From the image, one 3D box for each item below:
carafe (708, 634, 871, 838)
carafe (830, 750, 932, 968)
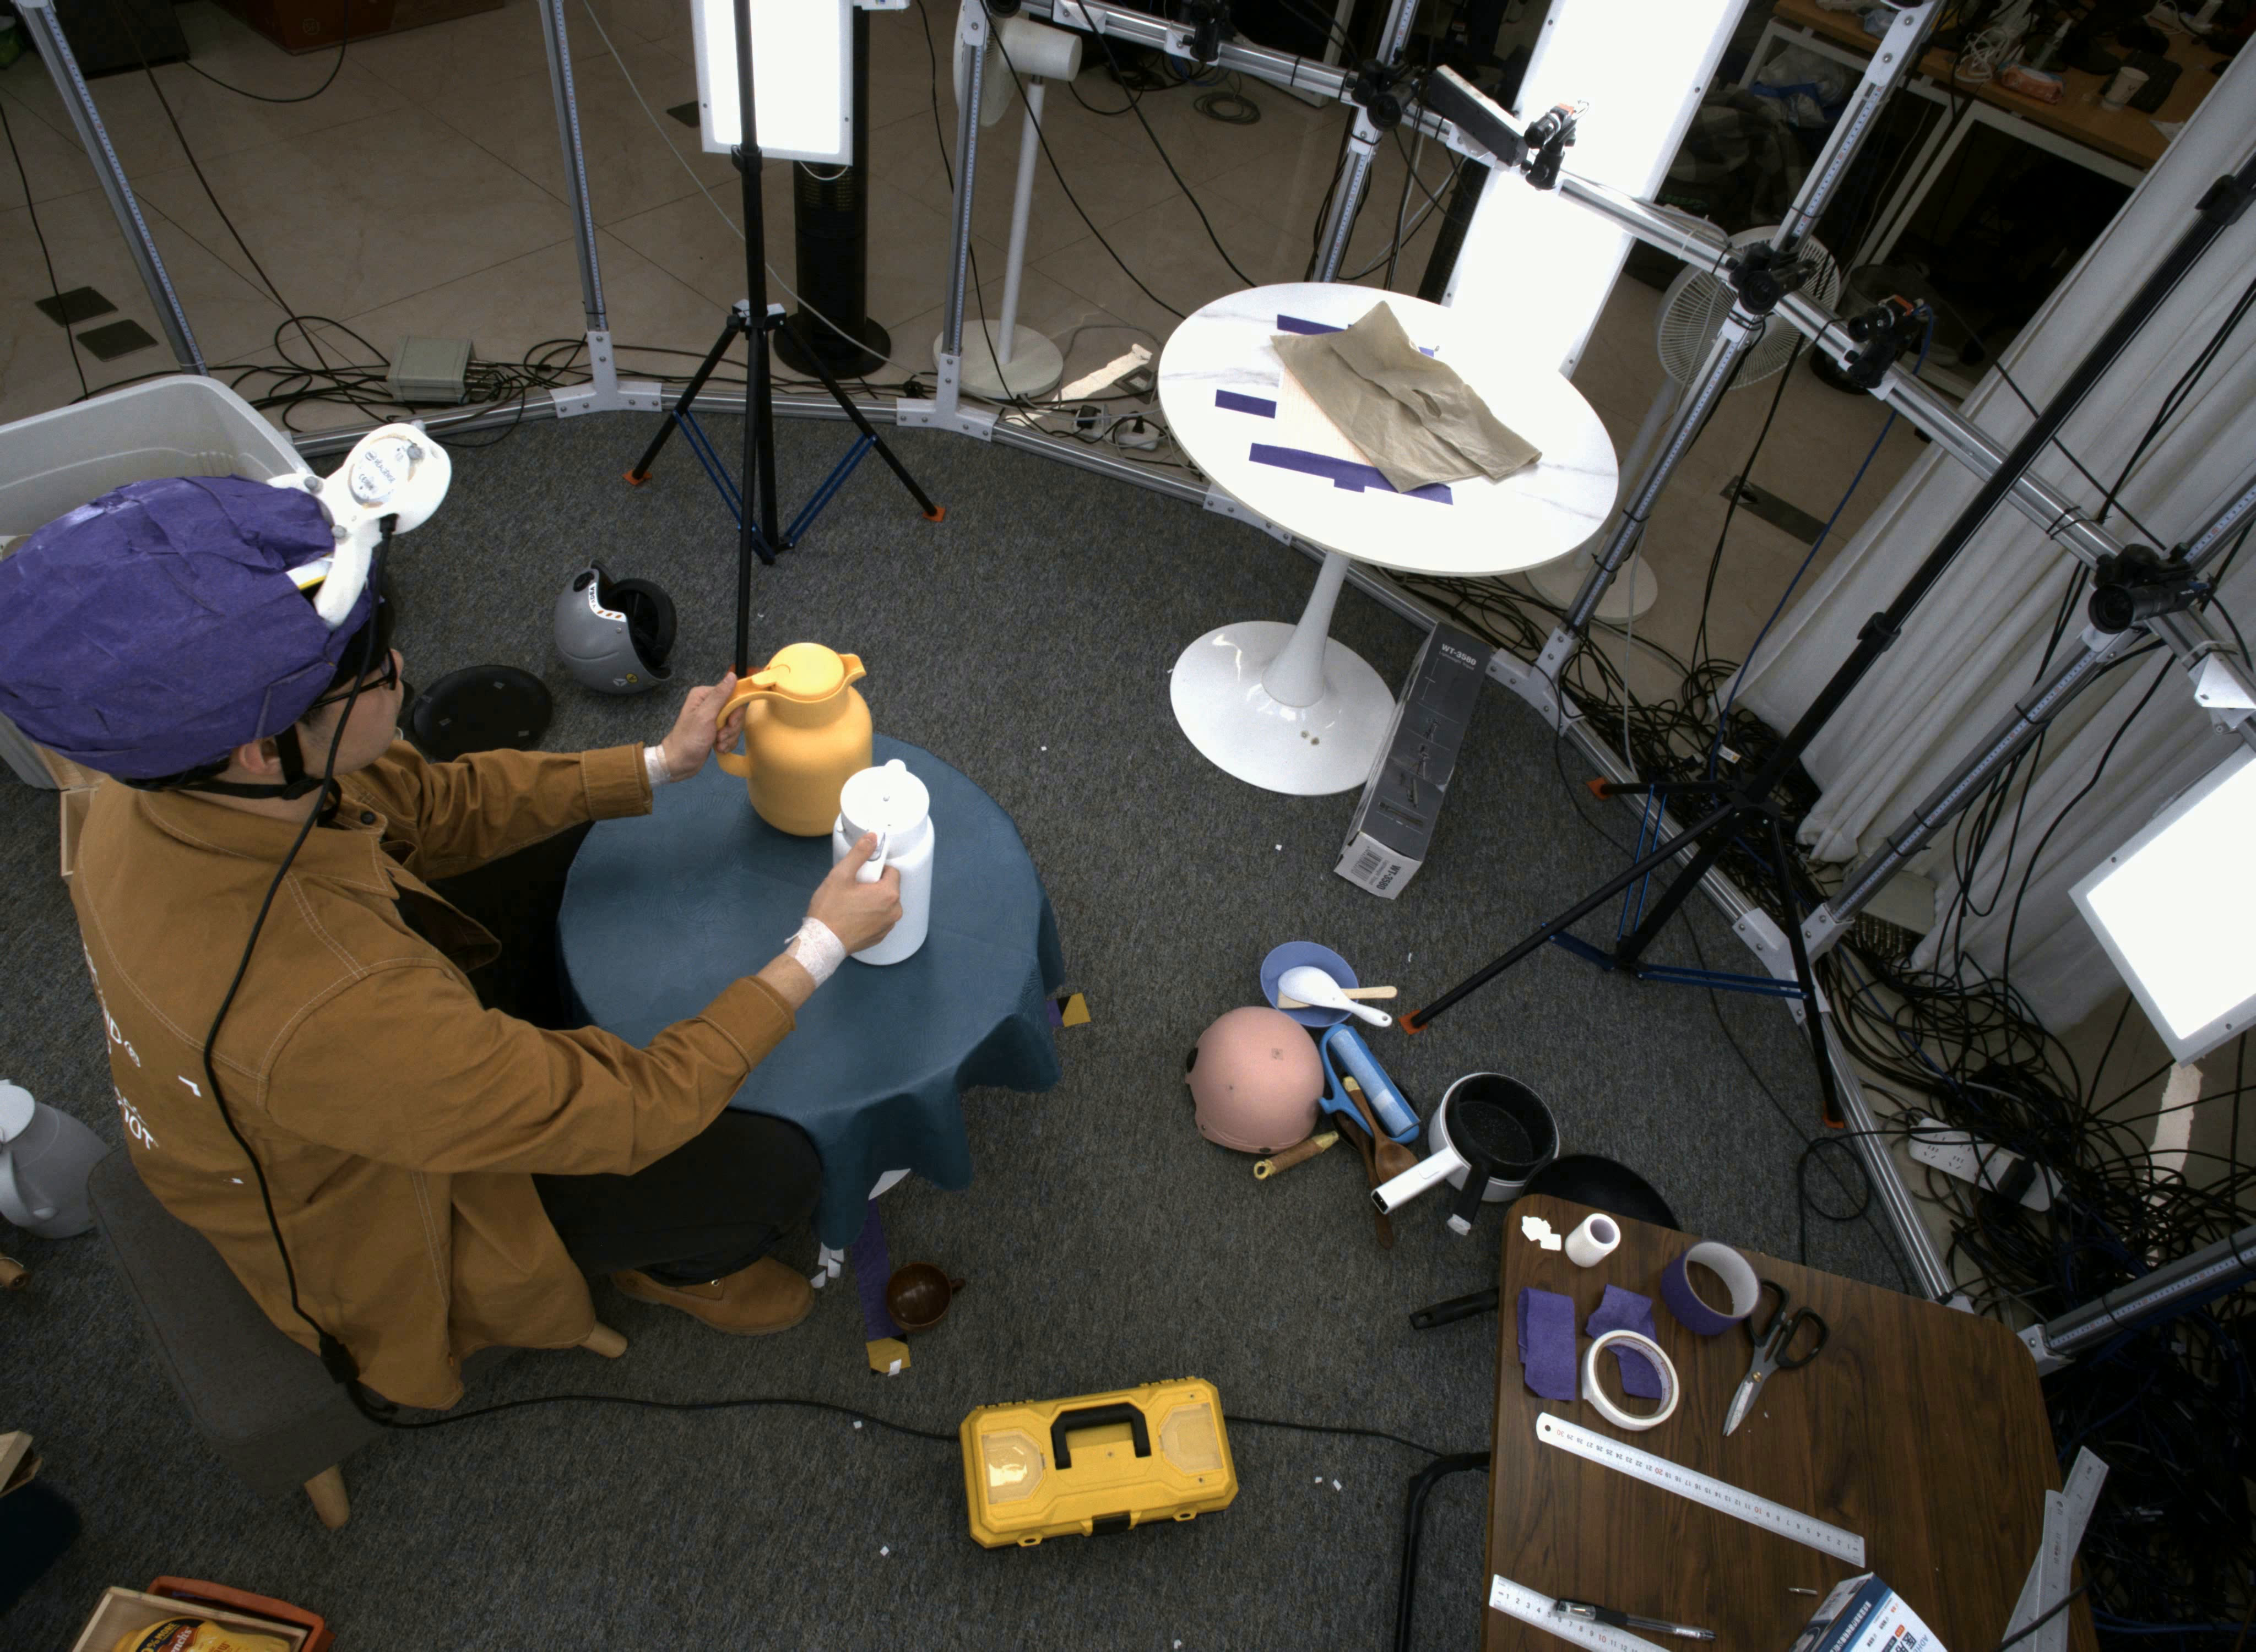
[{"bbox_3d":[-0.426,-0.116,1.637,0.203,0.266,0.159,-13,53,-23],"label":"carafe"},{"bbox_3d":[-0.294,0.060,1.536,0.123,0.274,0.170,11,50,-6],"label":"carafe"}]
